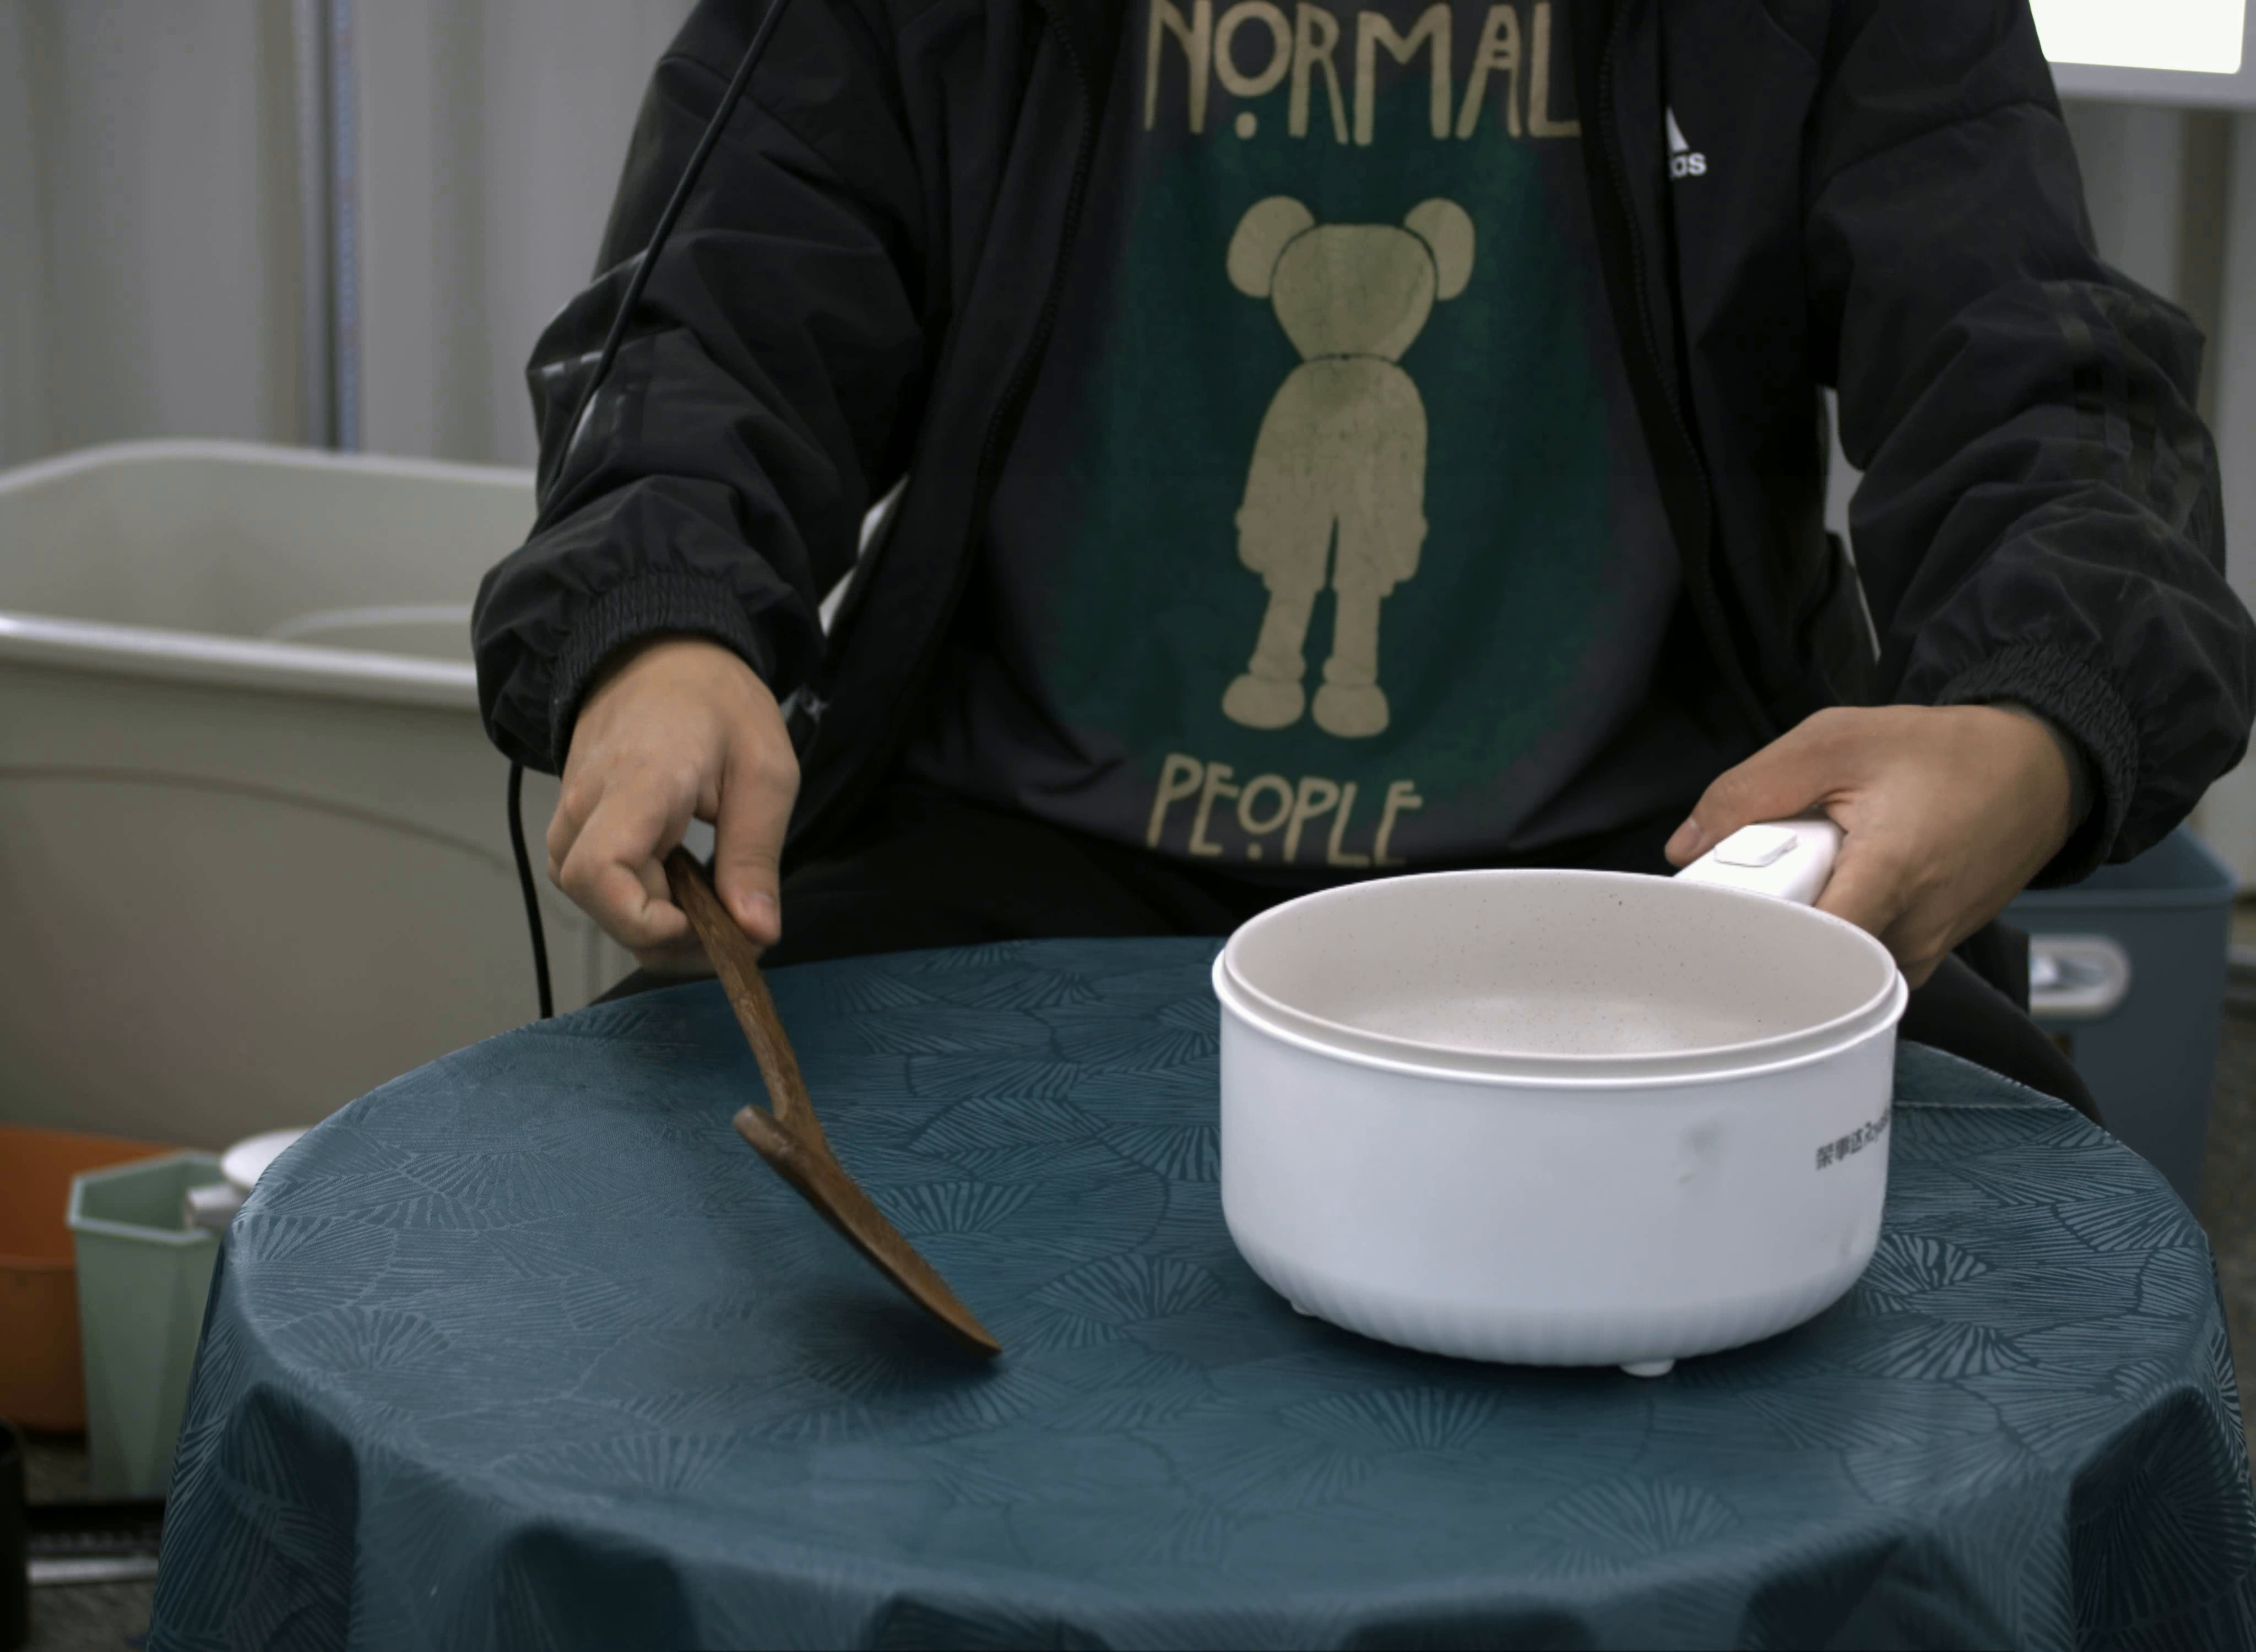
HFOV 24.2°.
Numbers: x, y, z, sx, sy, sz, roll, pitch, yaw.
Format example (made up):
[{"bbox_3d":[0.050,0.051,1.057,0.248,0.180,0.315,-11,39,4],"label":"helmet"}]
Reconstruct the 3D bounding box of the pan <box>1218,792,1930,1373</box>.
[{"bbox_3d":[0.161,0.070,1.600,0.199,0.103,0.356,8,15,27],"label":"pan"}]

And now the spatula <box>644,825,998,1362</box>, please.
[{"bbox_3d":[-0.110,0.066,1.618,0.016,0.097,0.382,-43,23,3],"label":"spatula"}]
